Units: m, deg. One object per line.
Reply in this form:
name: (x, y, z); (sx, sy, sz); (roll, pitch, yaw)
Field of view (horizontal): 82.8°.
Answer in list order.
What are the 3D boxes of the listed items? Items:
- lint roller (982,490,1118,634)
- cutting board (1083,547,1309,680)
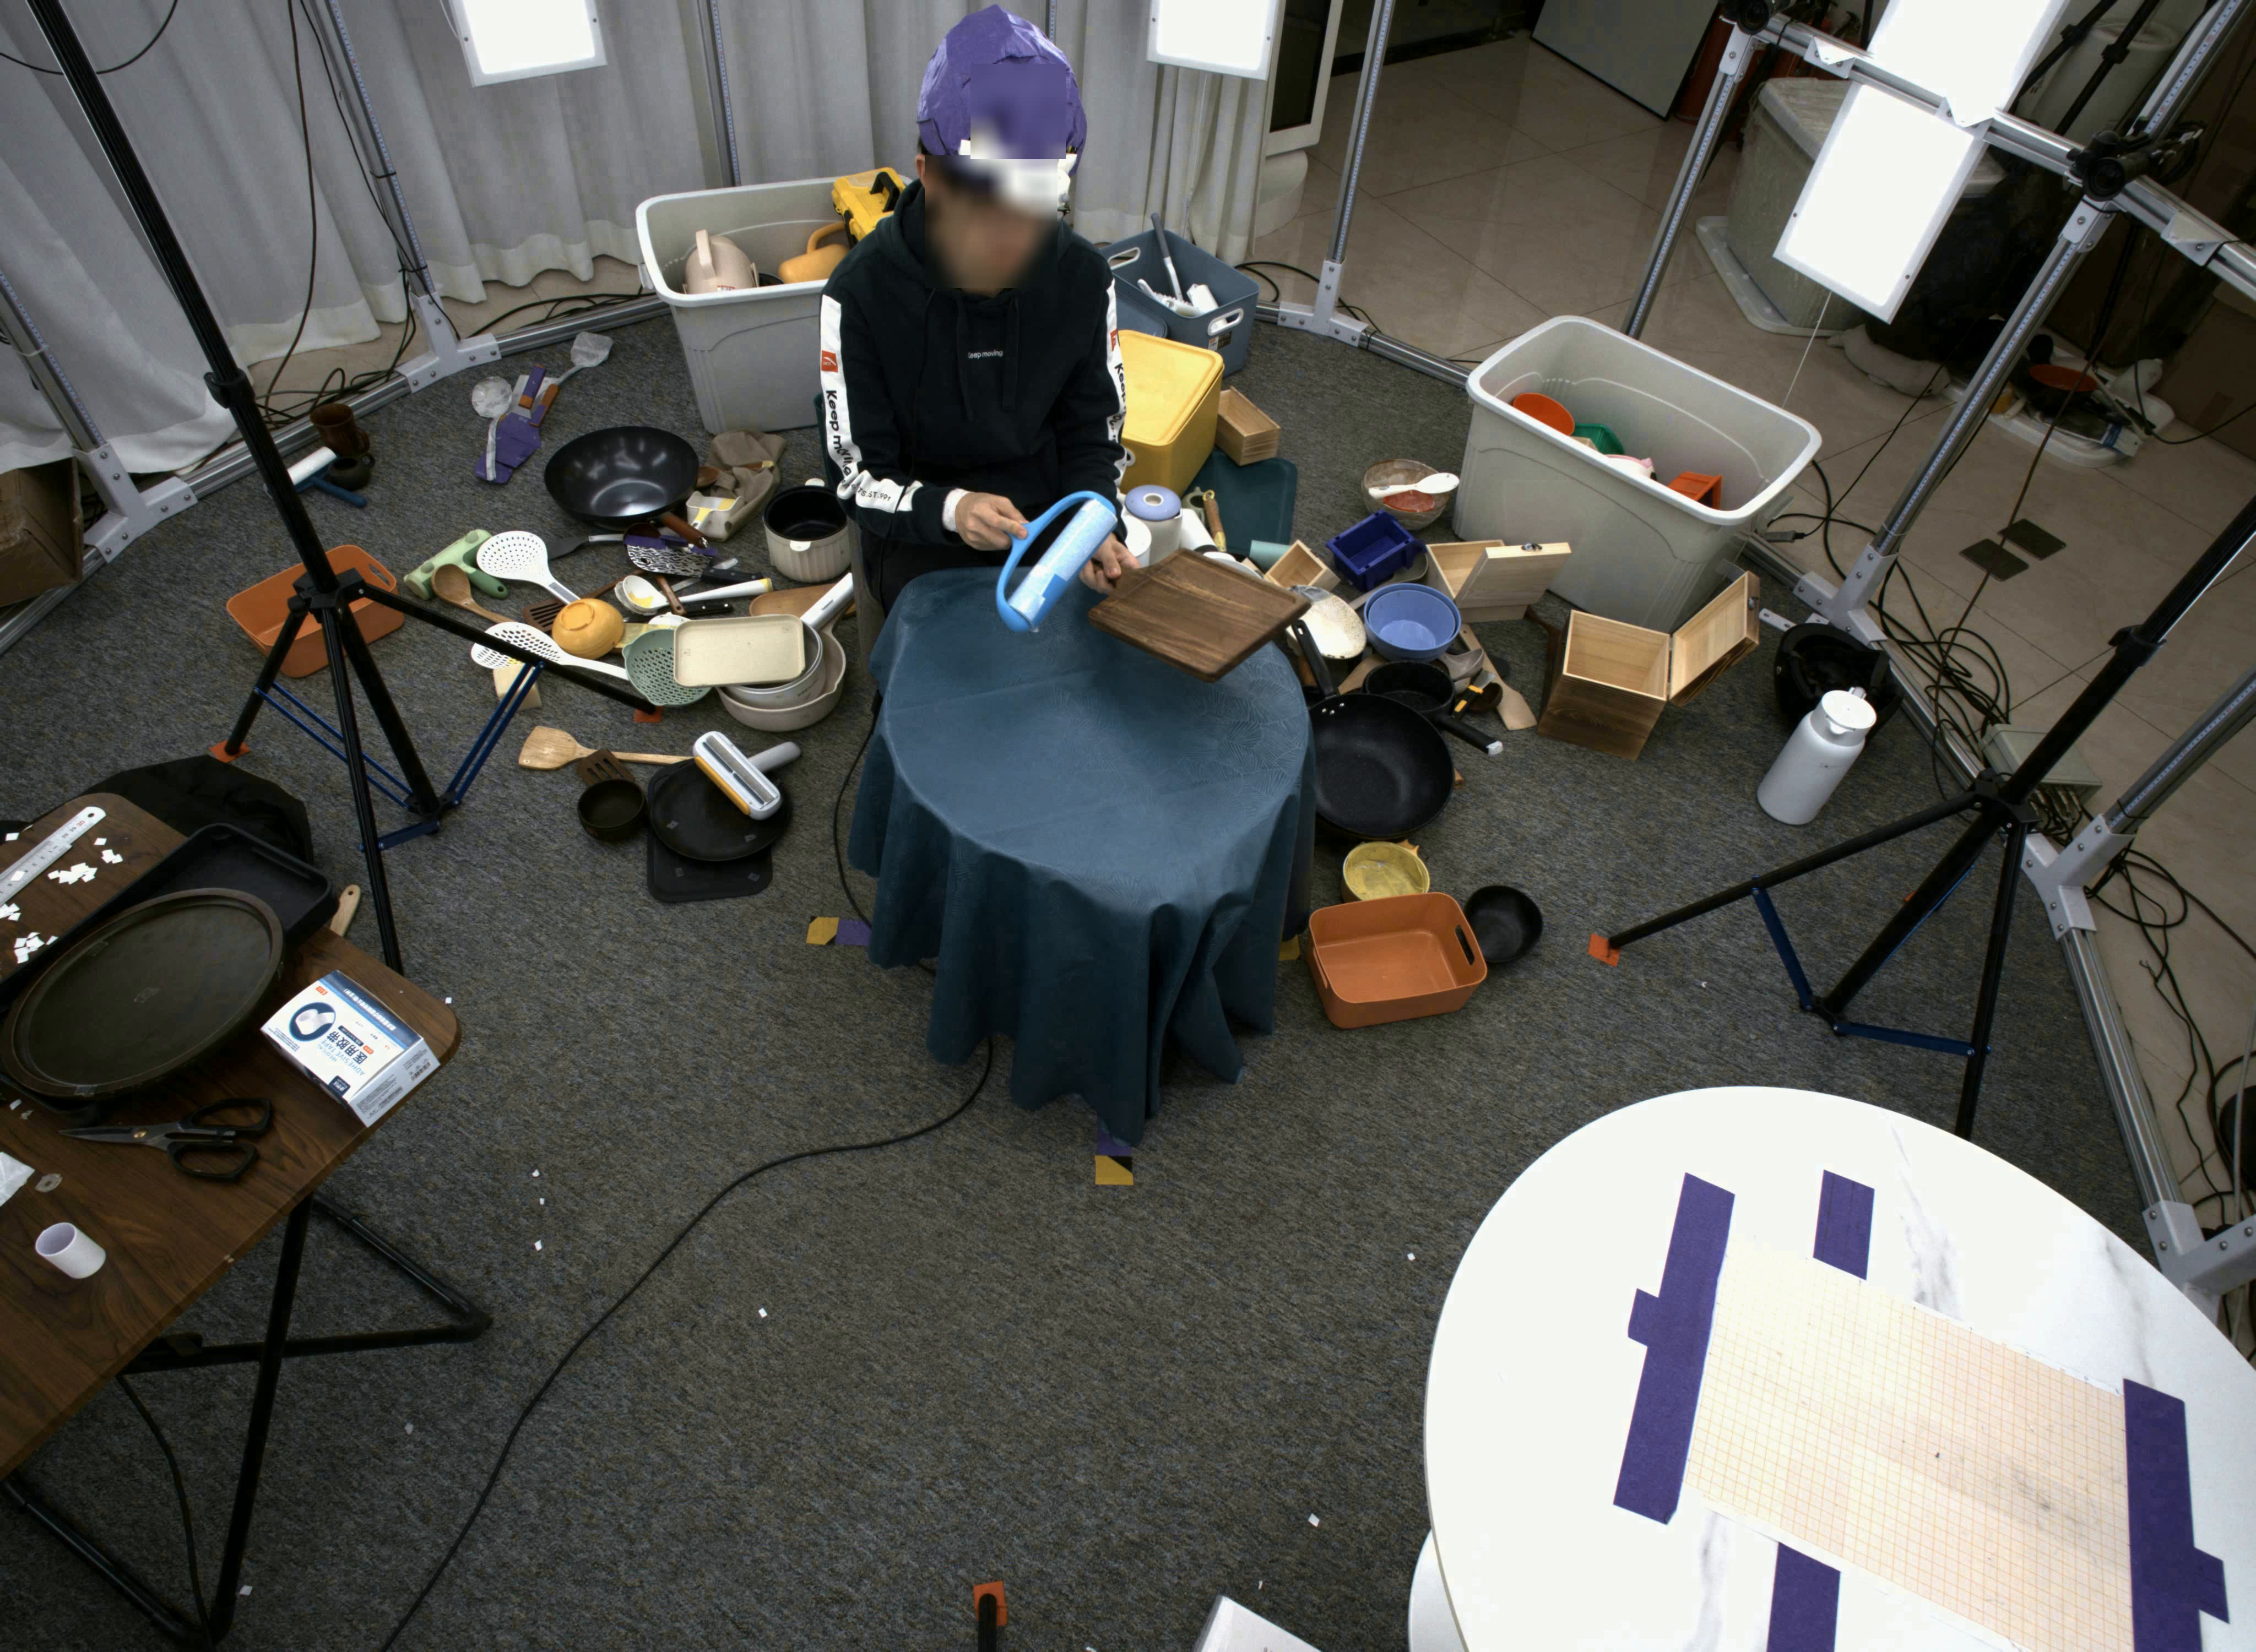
lint roller: (-0.138, -0.387, 1.788); (0.182, 0.067, 0.230); (28, 79, 20)
cutting board: (0.060, -0.318, 1.802); (0.203, 0.022, 0.358); (-38, 46, -24)
